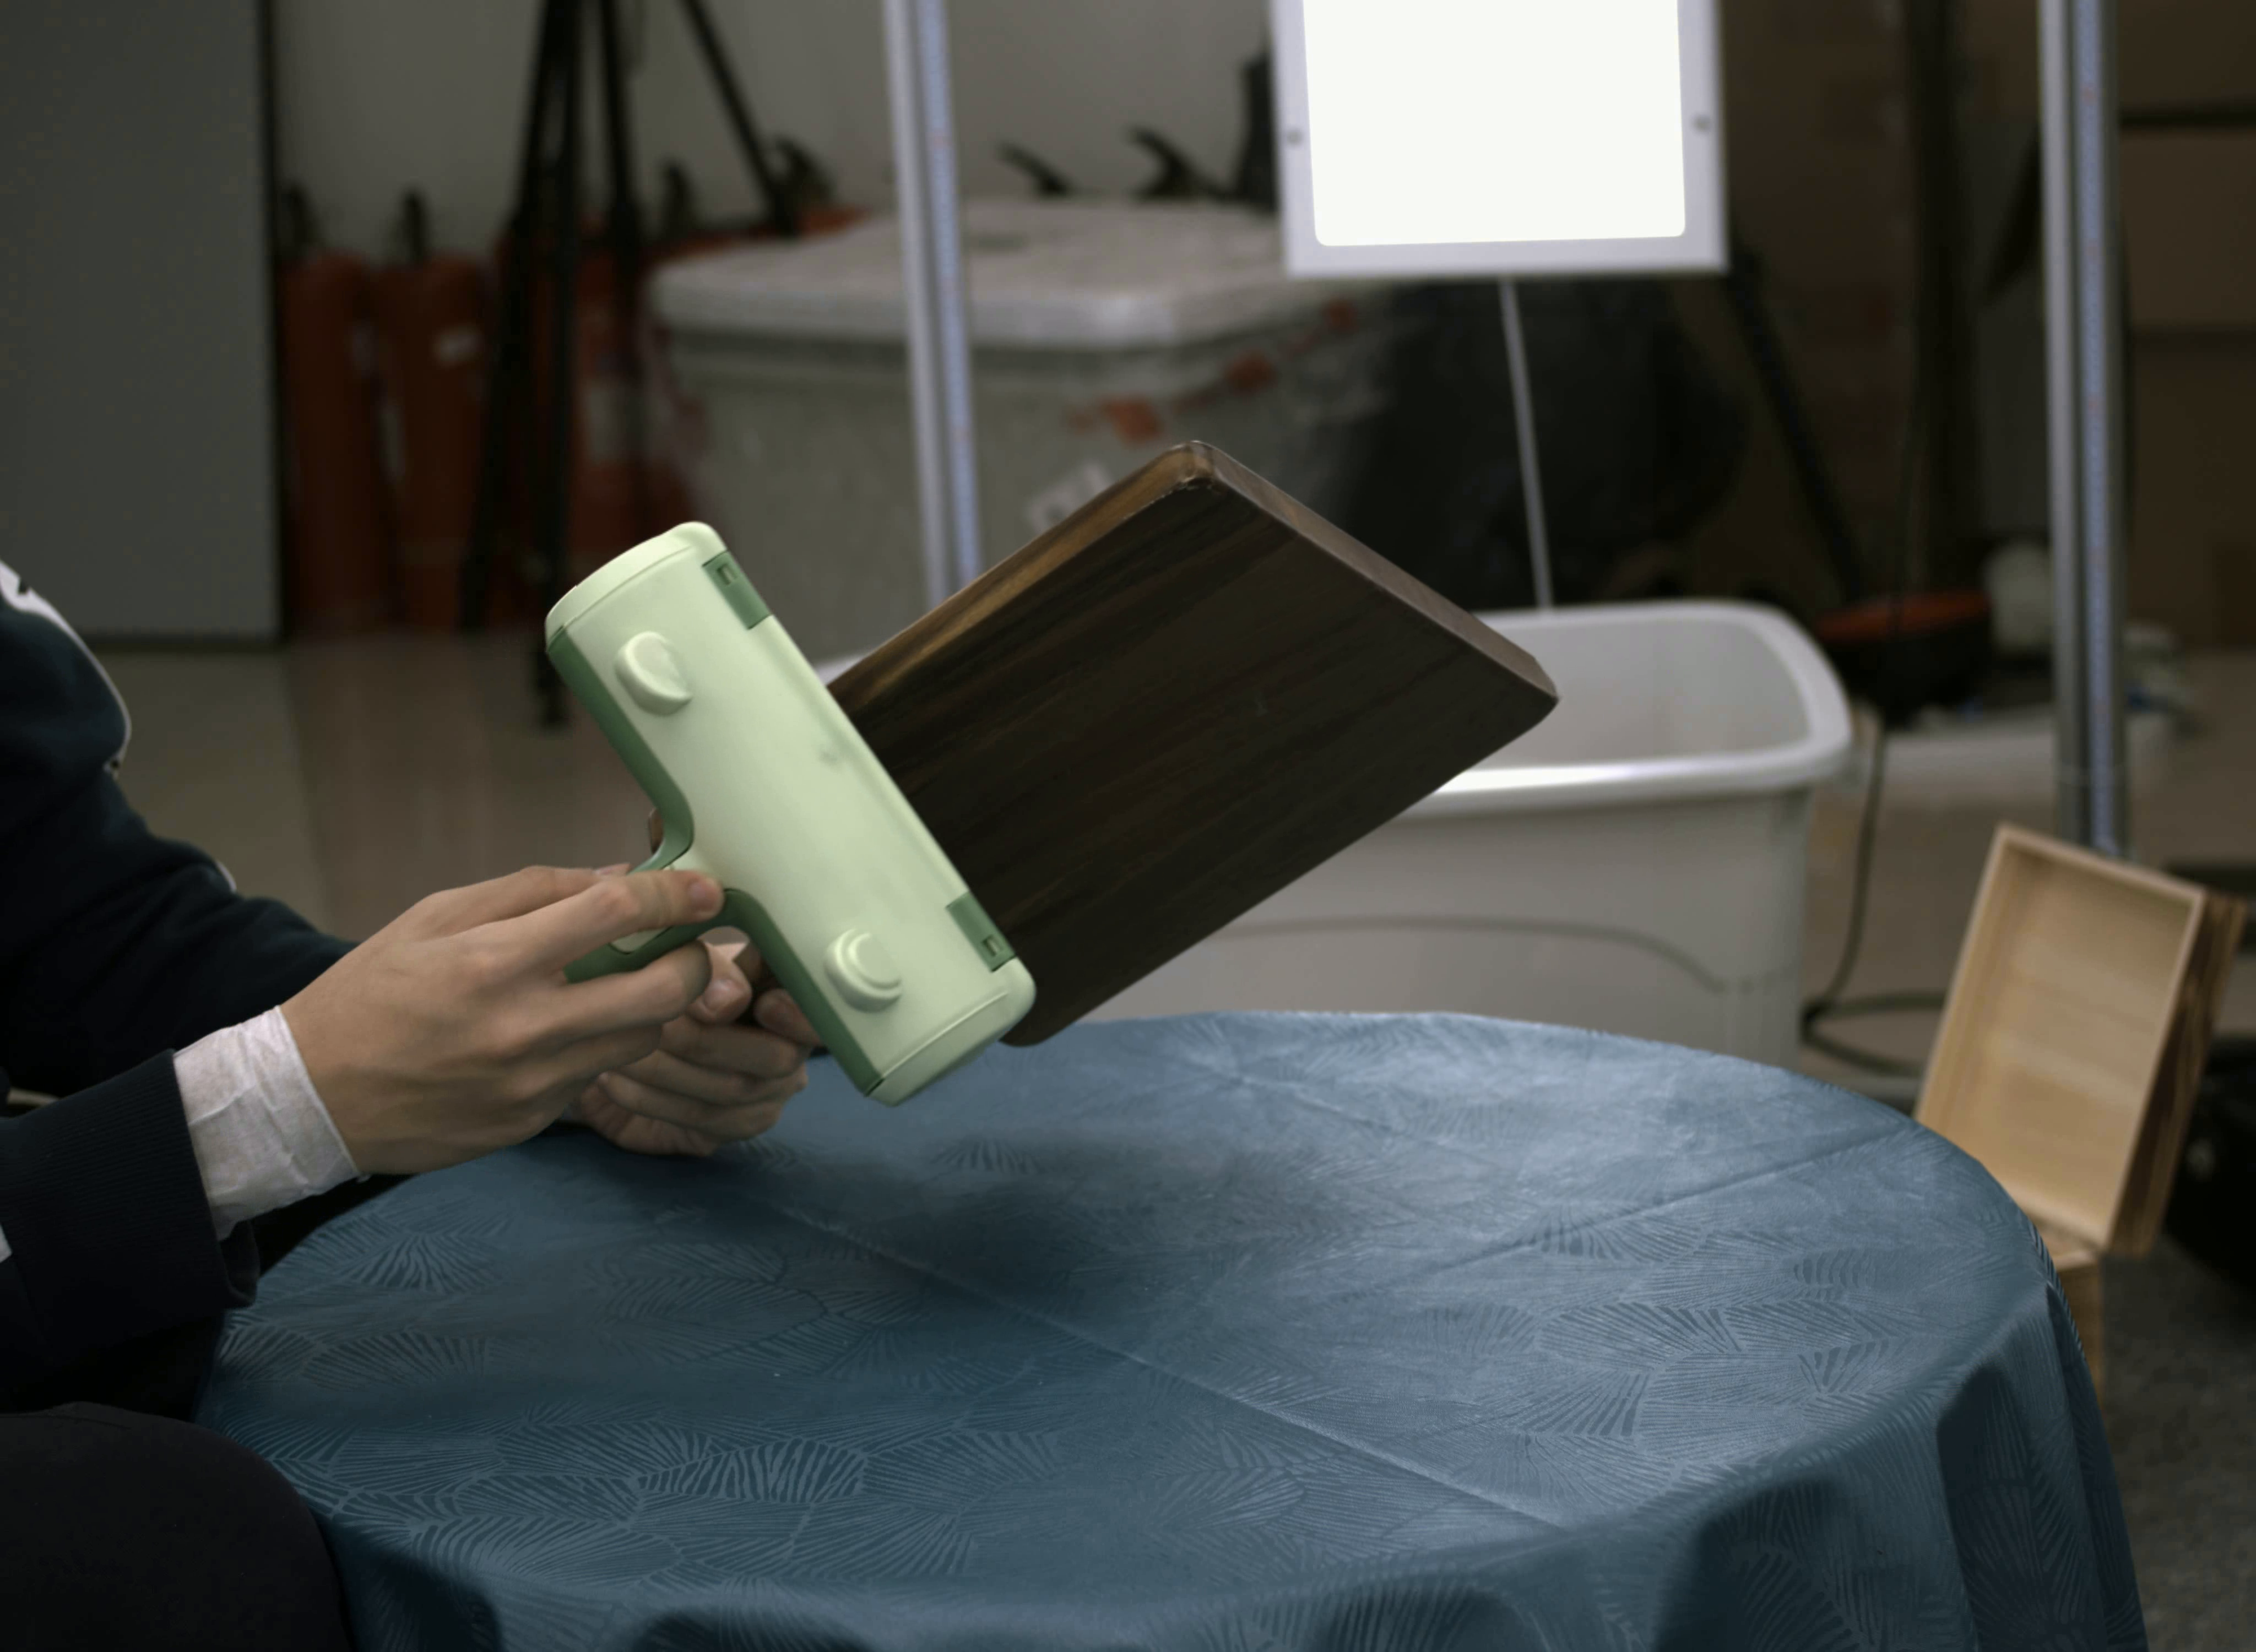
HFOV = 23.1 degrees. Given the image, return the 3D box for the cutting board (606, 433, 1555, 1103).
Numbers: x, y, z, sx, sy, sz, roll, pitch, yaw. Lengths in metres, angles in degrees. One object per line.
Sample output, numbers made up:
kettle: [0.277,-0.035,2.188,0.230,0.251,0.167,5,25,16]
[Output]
cutting board: [-0.045,0.003,1.872,0.358,0.023,0.197,-34,-43,28]

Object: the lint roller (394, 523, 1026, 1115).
lint roller: [-0.159,0.030,1.754,0.182,0.199,0.082,-35,-5,-4]
